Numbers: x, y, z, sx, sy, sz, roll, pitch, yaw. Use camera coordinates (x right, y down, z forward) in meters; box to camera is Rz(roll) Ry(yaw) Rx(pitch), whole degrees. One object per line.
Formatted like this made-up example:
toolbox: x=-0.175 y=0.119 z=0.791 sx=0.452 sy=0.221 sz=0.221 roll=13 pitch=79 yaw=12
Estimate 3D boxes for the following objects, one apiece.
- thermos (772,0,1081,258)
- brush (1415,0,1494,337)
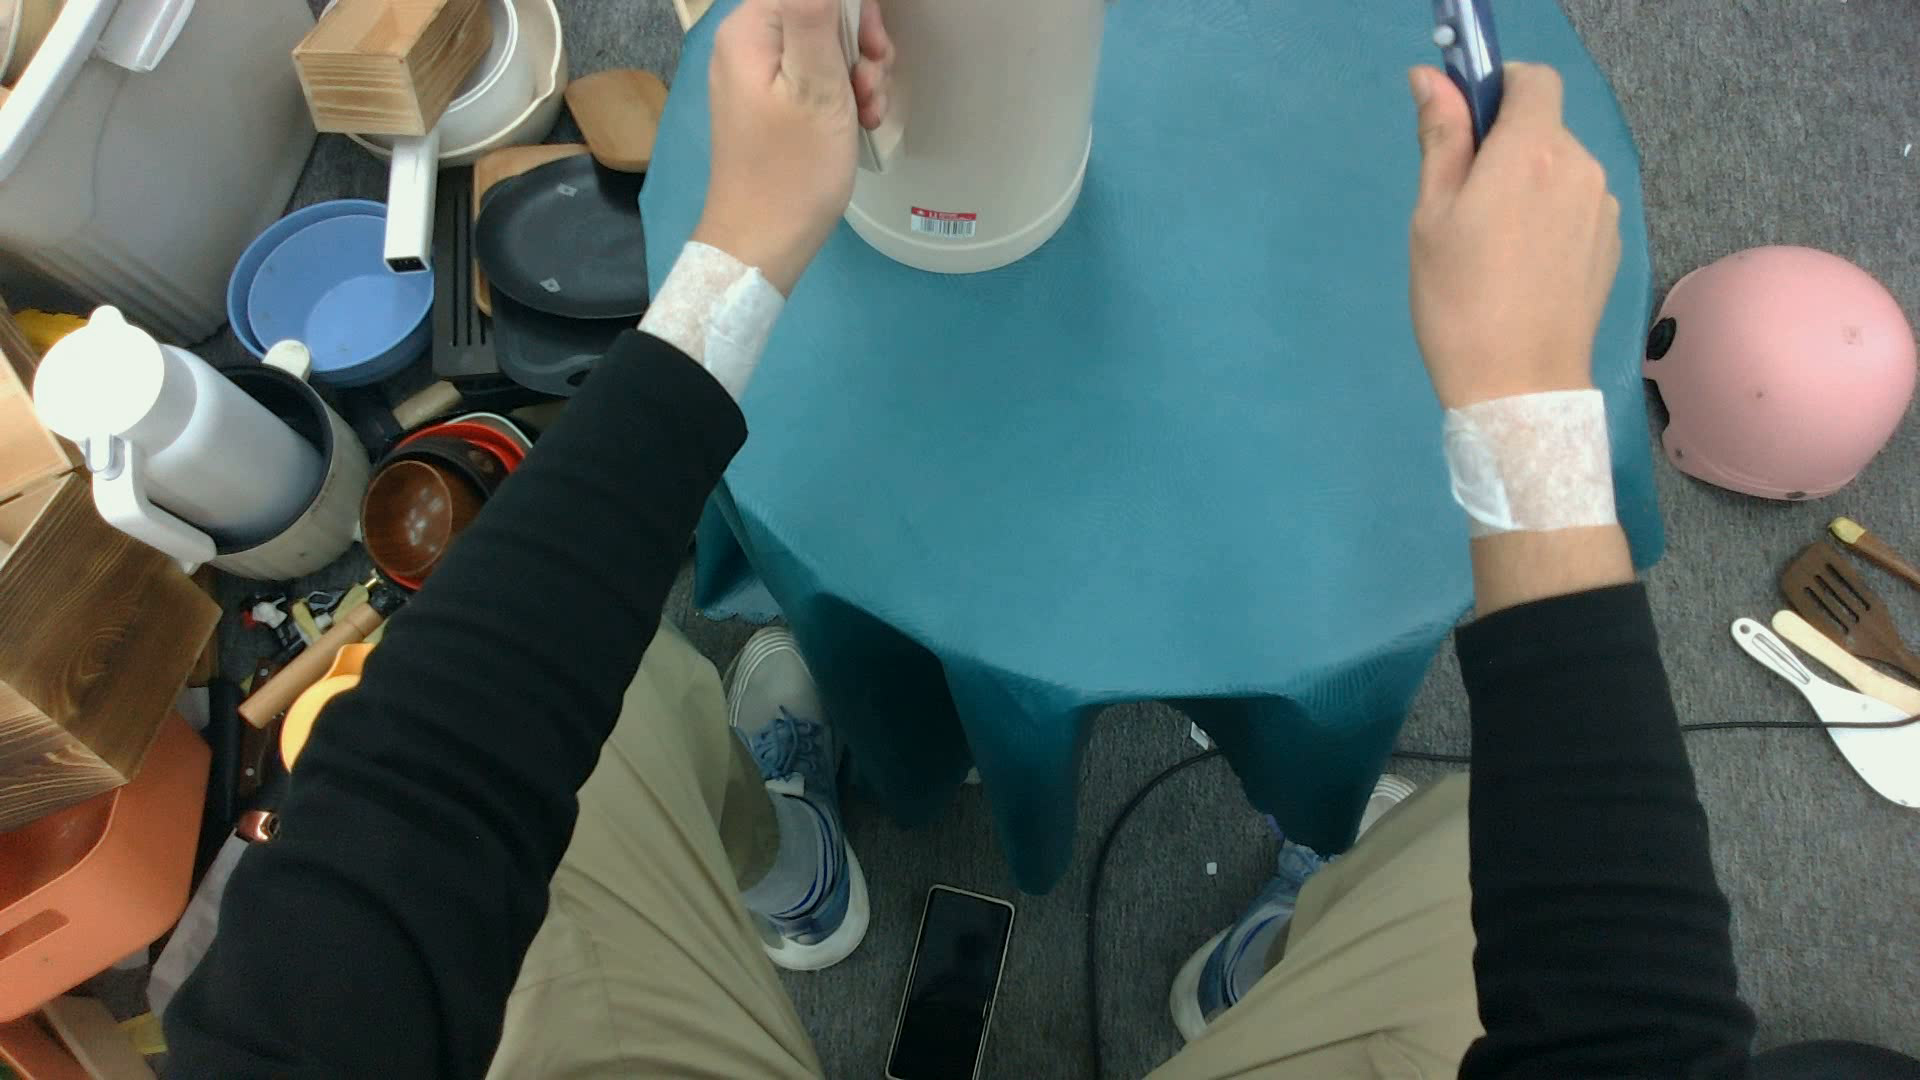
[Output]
thermos: x=-0.022 y=-0.283 z=0.641 sx=0.175 sy=0.405 sz=0.207 roll=26 pitch=75 yaw=5
brush: x=0.193 y=-0.220 z=0.542 sx=0.033 sy=0.095 sz=0.273 roll=-24 pitch=98 yaw=-38
